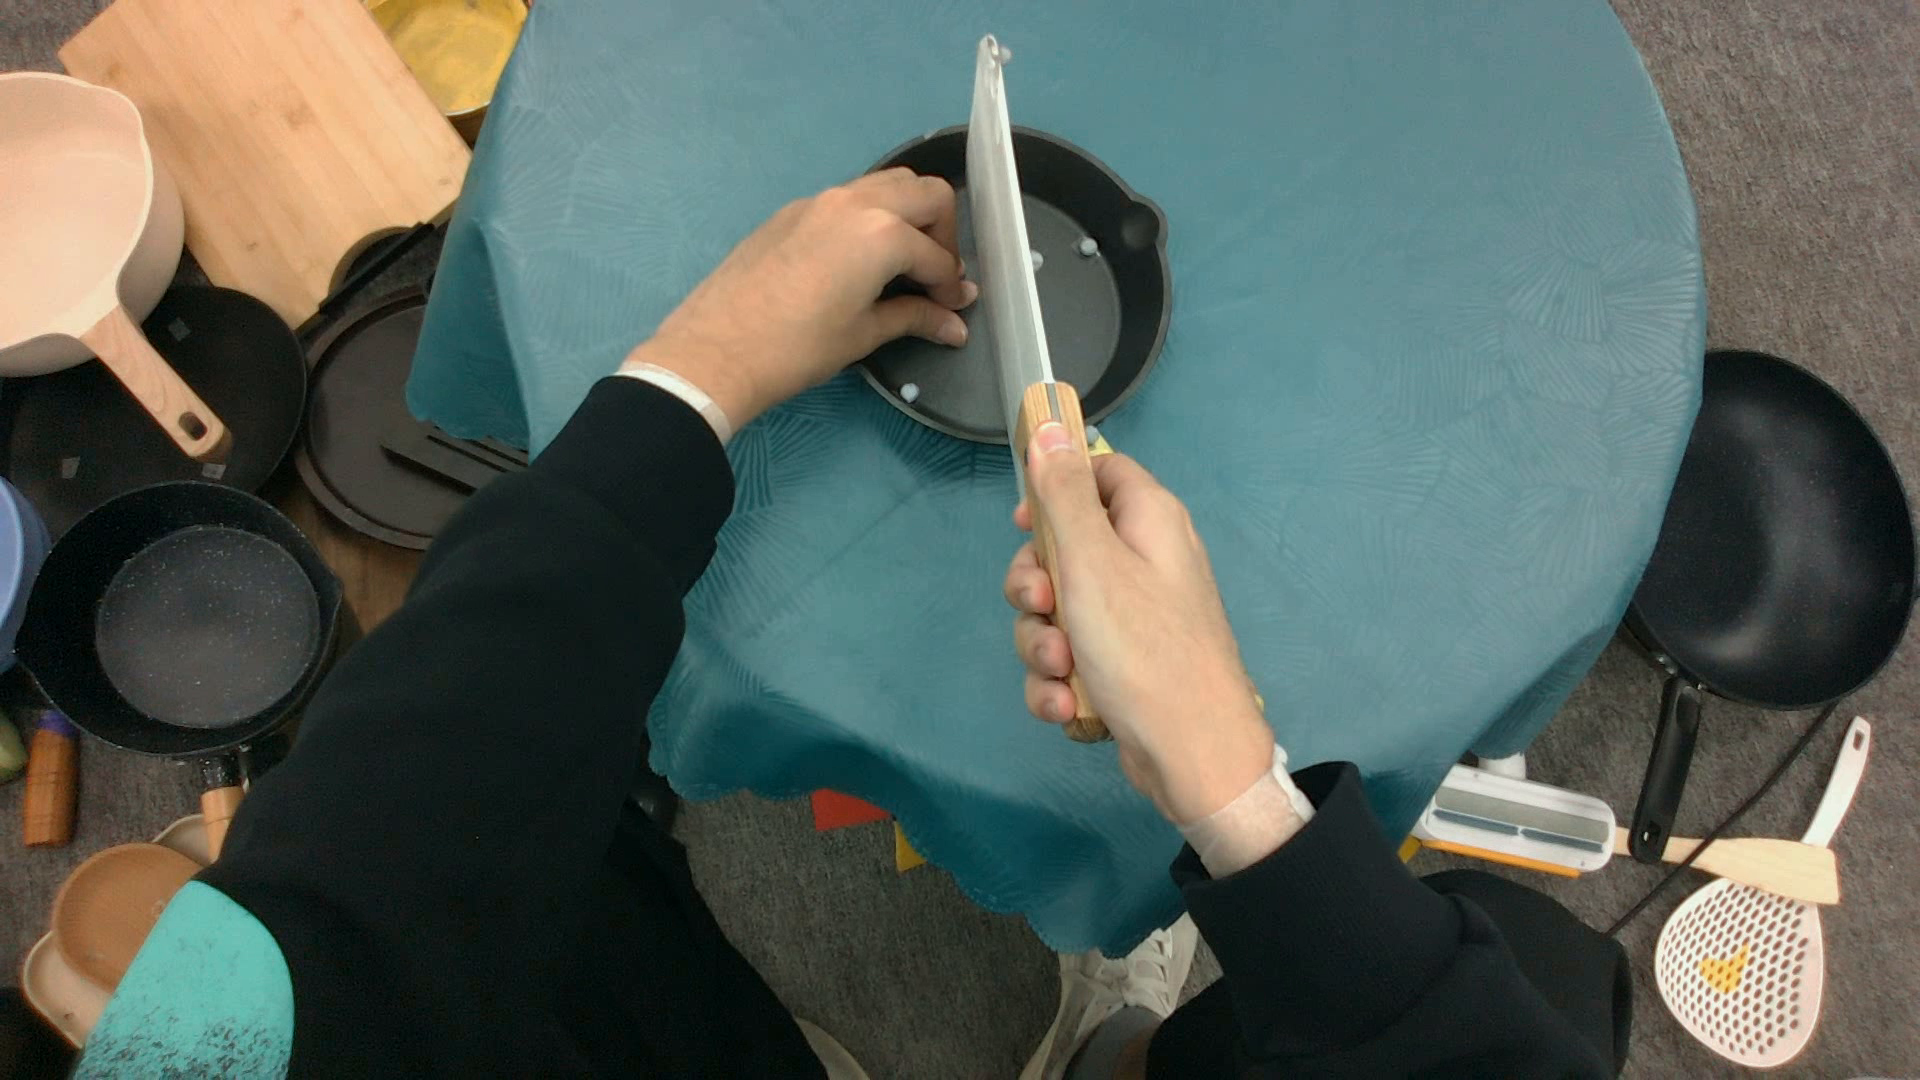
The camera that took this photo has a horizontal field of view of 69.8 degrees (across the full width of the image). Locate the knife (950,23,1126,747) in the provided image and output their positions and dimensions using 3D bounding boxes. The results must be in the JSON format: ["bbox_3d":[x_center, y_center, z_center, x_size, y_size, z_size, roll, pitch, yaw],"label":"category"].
[{"bbox_3d":[0.021,-0.068,0.532,0.022,0.113,0.316,-5,59,-8],"label":"knife"}]

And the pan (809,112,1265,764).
[{"bbox_3d":[0.046,-0.046,0.606,0.169,0.049,0.324,-23,77,-14],"label":"pan"}]
